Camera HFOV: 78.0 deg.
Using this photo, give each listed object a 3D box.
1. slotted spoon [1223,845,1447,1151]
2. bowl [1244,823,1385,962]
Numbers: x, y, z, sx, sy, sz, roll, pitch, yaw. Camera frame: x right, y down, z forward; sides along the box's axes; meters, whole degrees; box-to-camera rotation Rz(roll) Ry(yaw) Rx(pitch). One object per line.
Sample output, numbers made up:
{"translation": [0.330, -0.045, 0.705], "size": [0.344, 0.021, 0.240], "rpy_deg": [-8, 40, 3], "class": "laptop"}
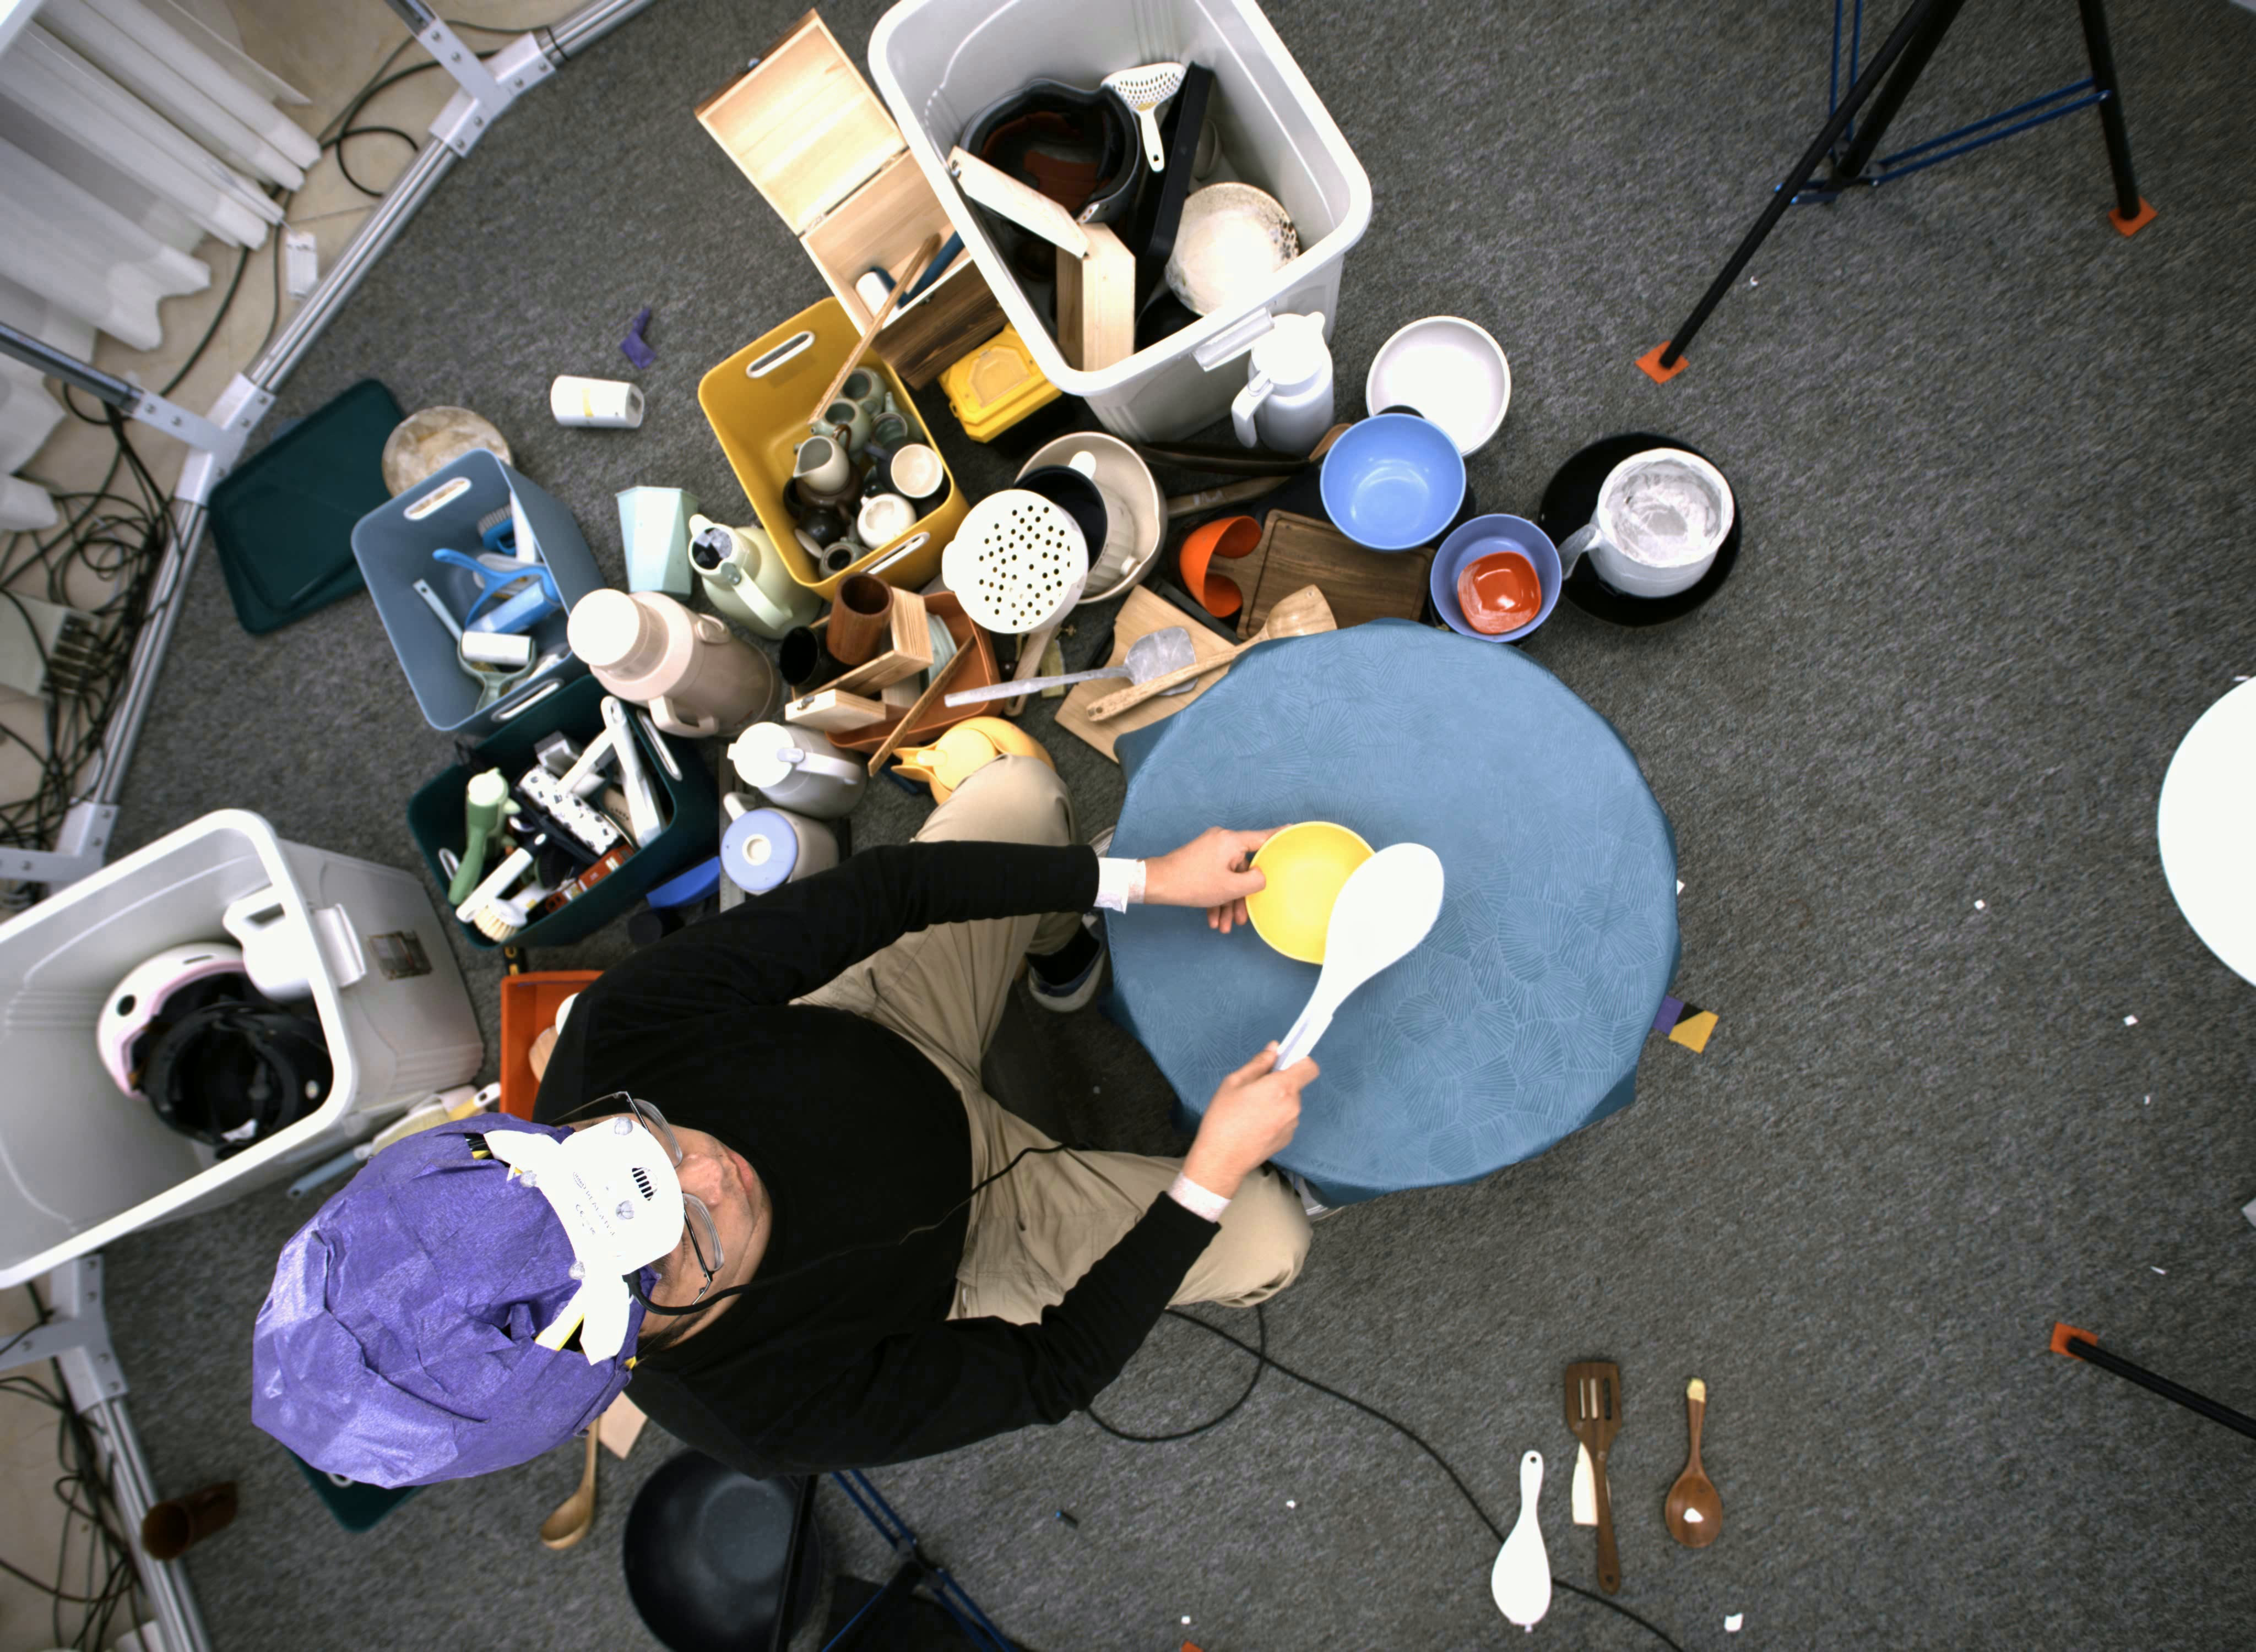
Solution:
{"translation": [0.200, 0.168, 1.354], "size": [0.046, 0.135, 0.349], "rpy_deg": [39, 88, -26], "class": "slotted spoon"}
{"translation": [0.195, 0.071, 1.446], "size": [0.146, 0.060, 0.144], "rpy_deg": [-1, 84, 9], "class": "bowl"}
